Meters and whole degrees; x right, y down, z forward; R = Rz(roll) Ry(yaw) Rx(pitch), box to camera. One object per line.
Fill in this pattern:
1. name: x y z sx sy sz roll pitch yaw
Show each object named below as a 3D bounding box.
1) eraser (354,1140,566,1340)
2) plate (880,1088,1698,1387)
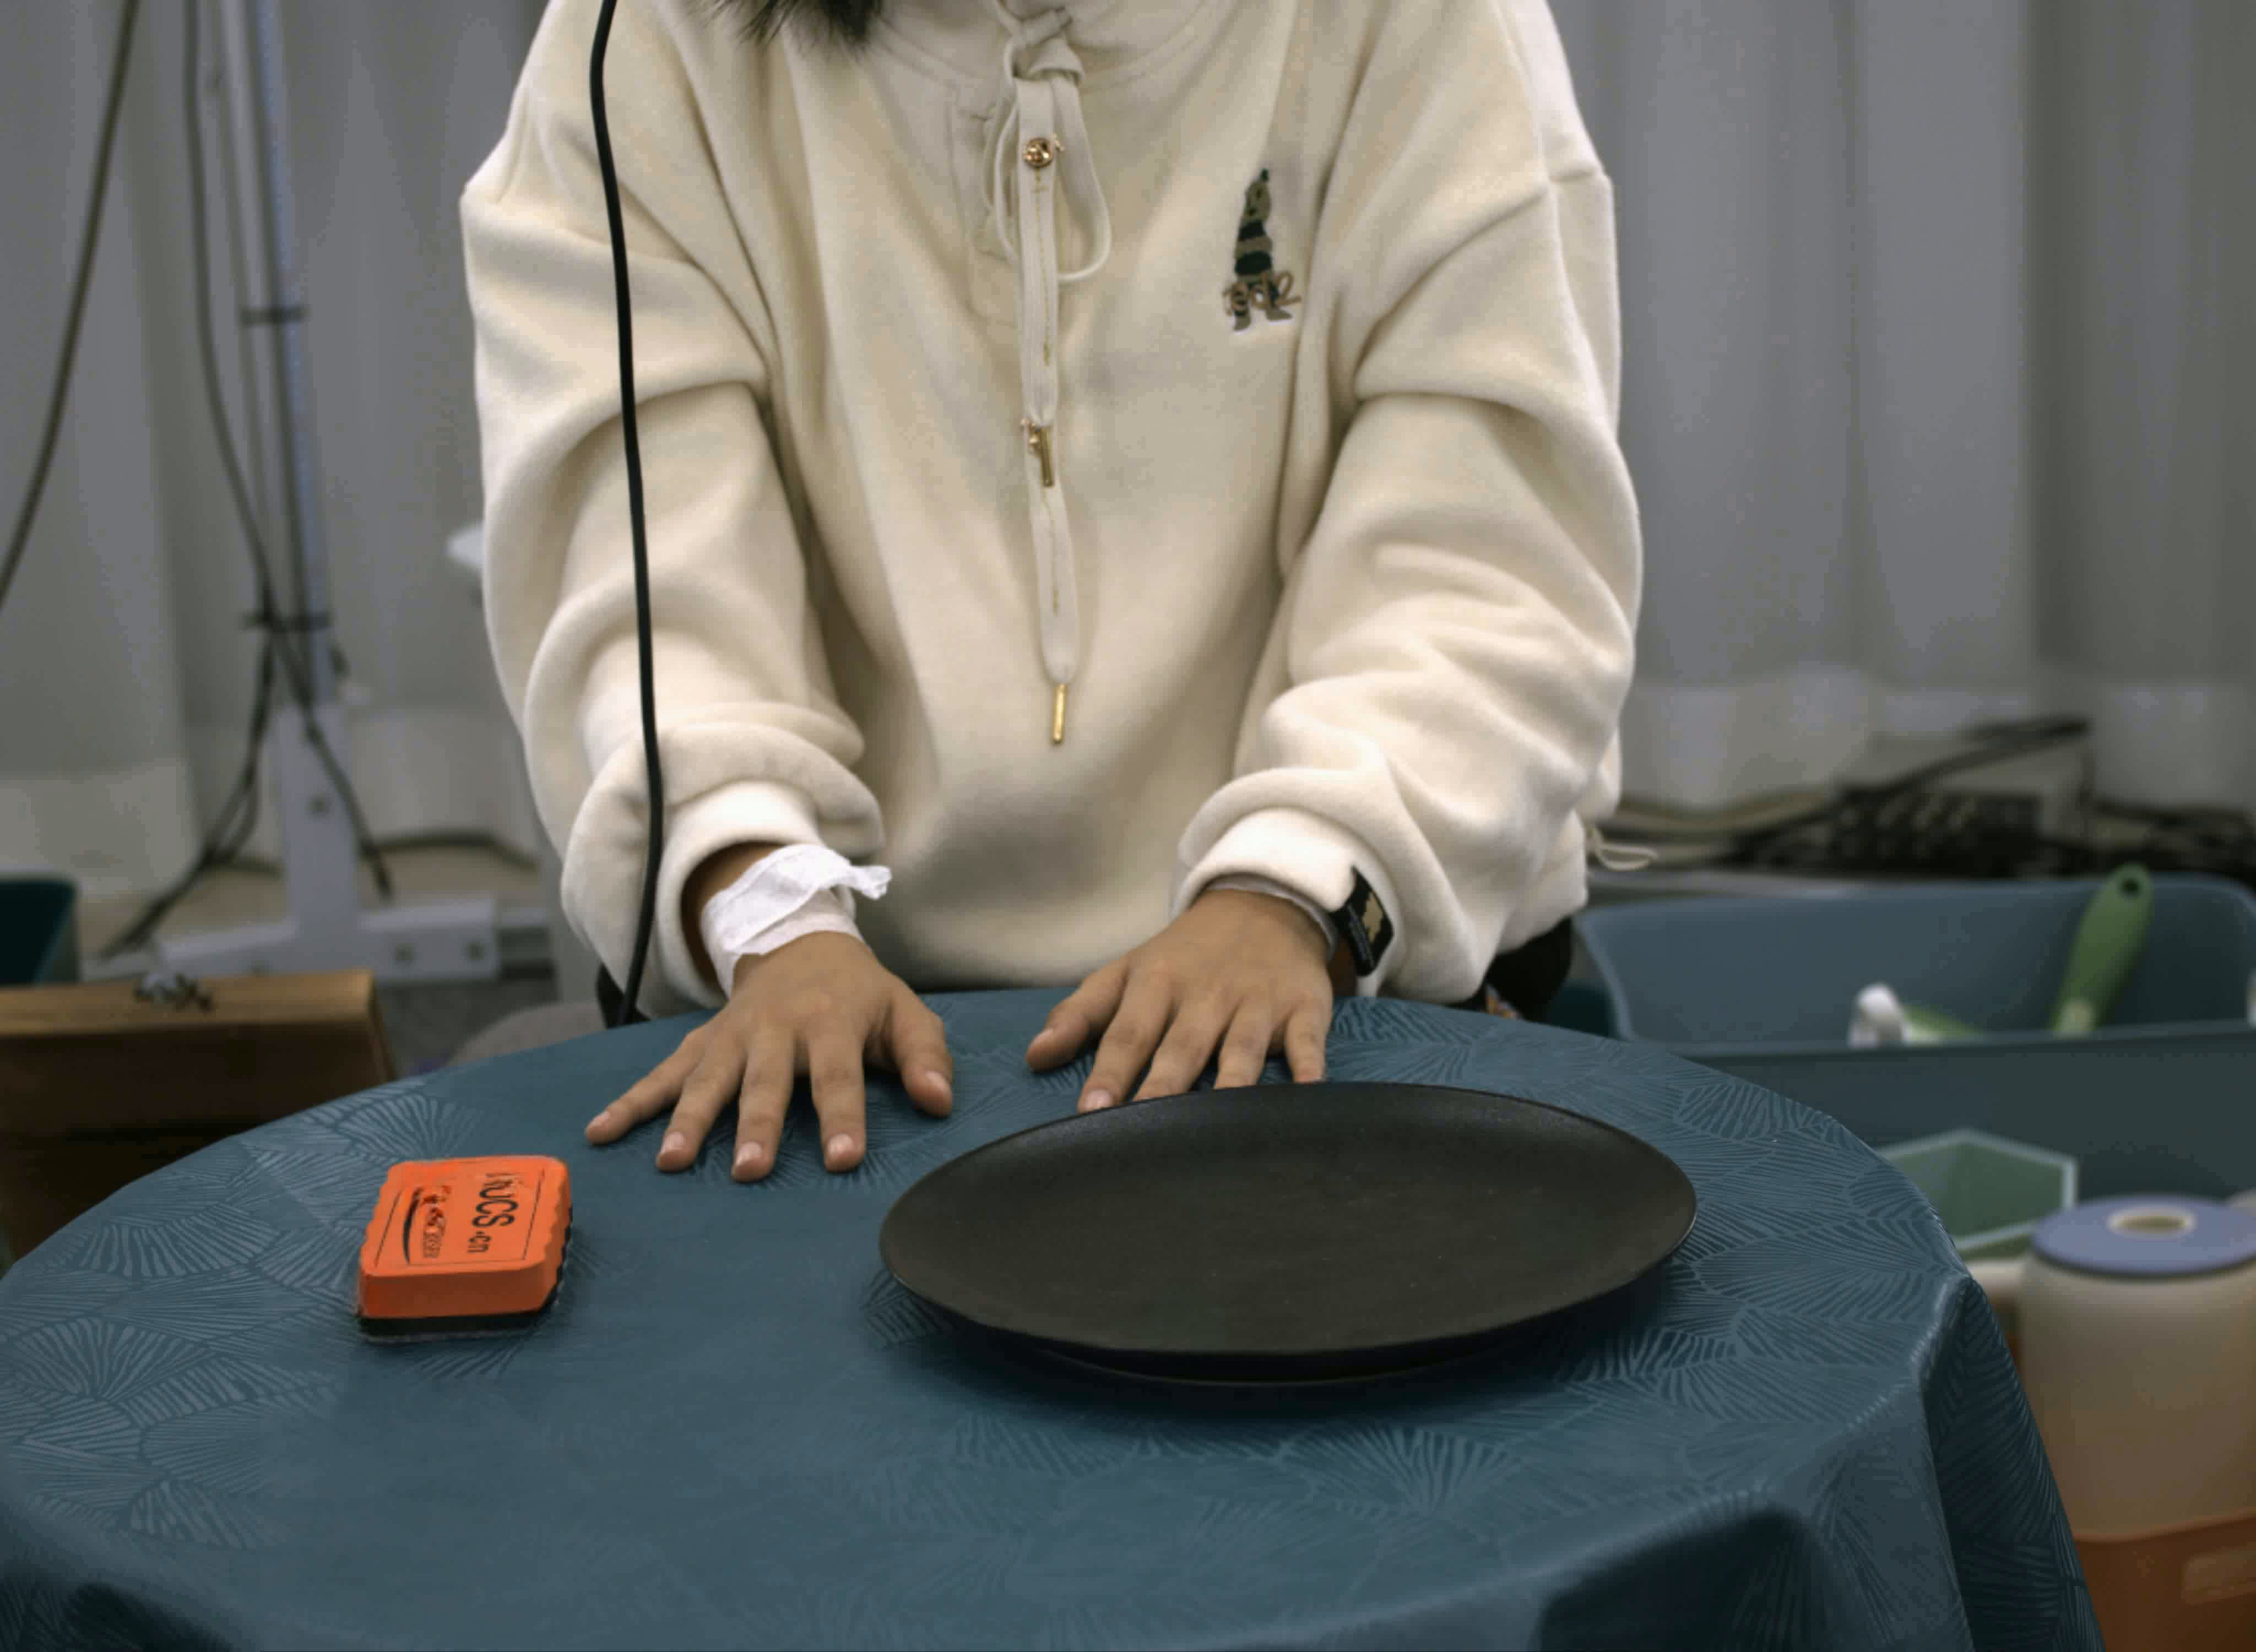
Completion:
1. eraser: -0.201 0.125 1.659 0.059 0.023 0.109 -4 17 -1
2. plate: 0.048 0.124 1.624 0.243 0.023 0.246 -3 15 0
